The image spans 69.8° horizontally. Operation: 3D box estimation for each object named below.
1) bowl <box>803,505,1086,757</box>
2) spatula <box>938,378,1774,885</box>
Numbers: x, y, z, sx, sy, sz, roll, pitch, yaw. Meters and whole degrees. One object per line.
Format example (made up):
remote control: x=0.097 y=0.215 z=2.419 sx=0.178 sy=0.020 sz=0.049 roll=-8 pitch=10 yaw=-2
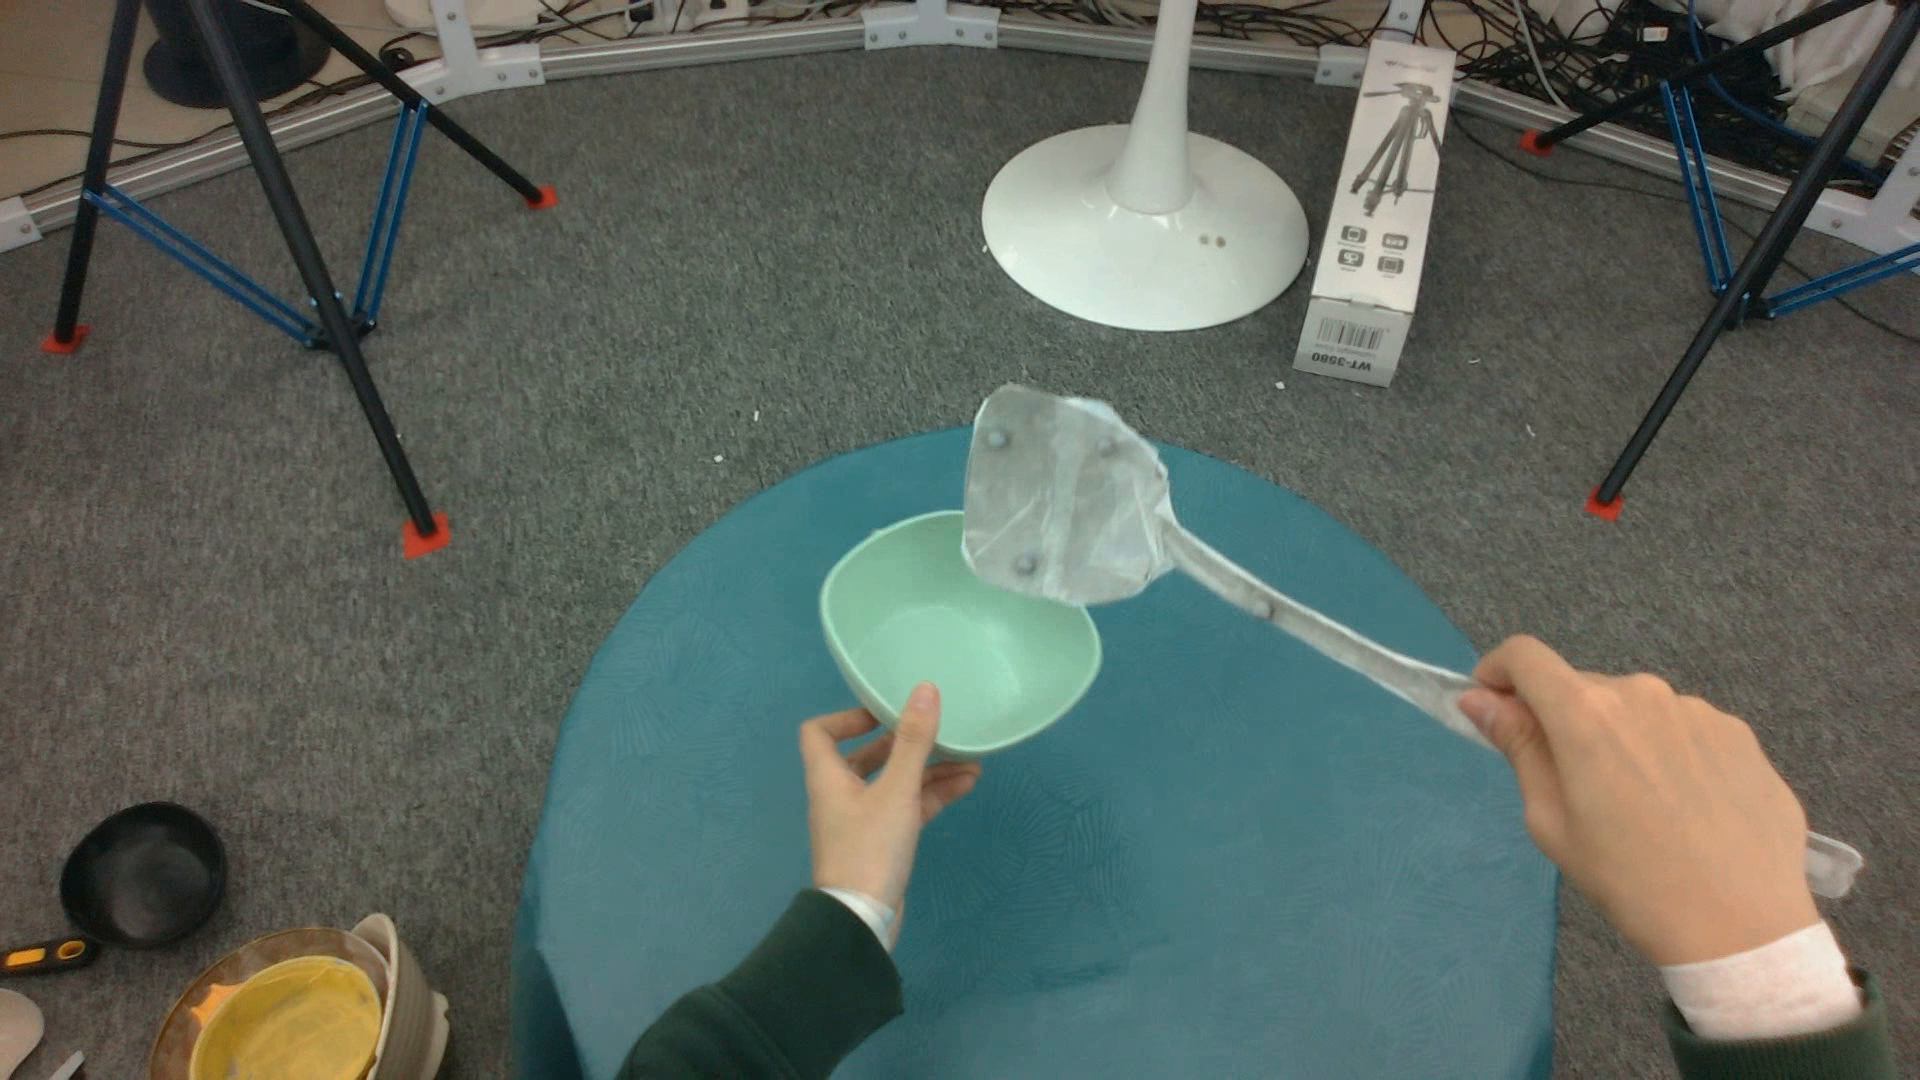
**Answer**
bowl: x=-0.014 y=0.056 z=0.727 sx=0.151 sy=0.058 sz=0.152 roll=11 pitch=49 yaw=-13
spatula: x=0.129 y=0.033 z=0.543 sx=0.045 sy=0.098 sz=0.365 roll=-12 pitch=32 yaw=-42
